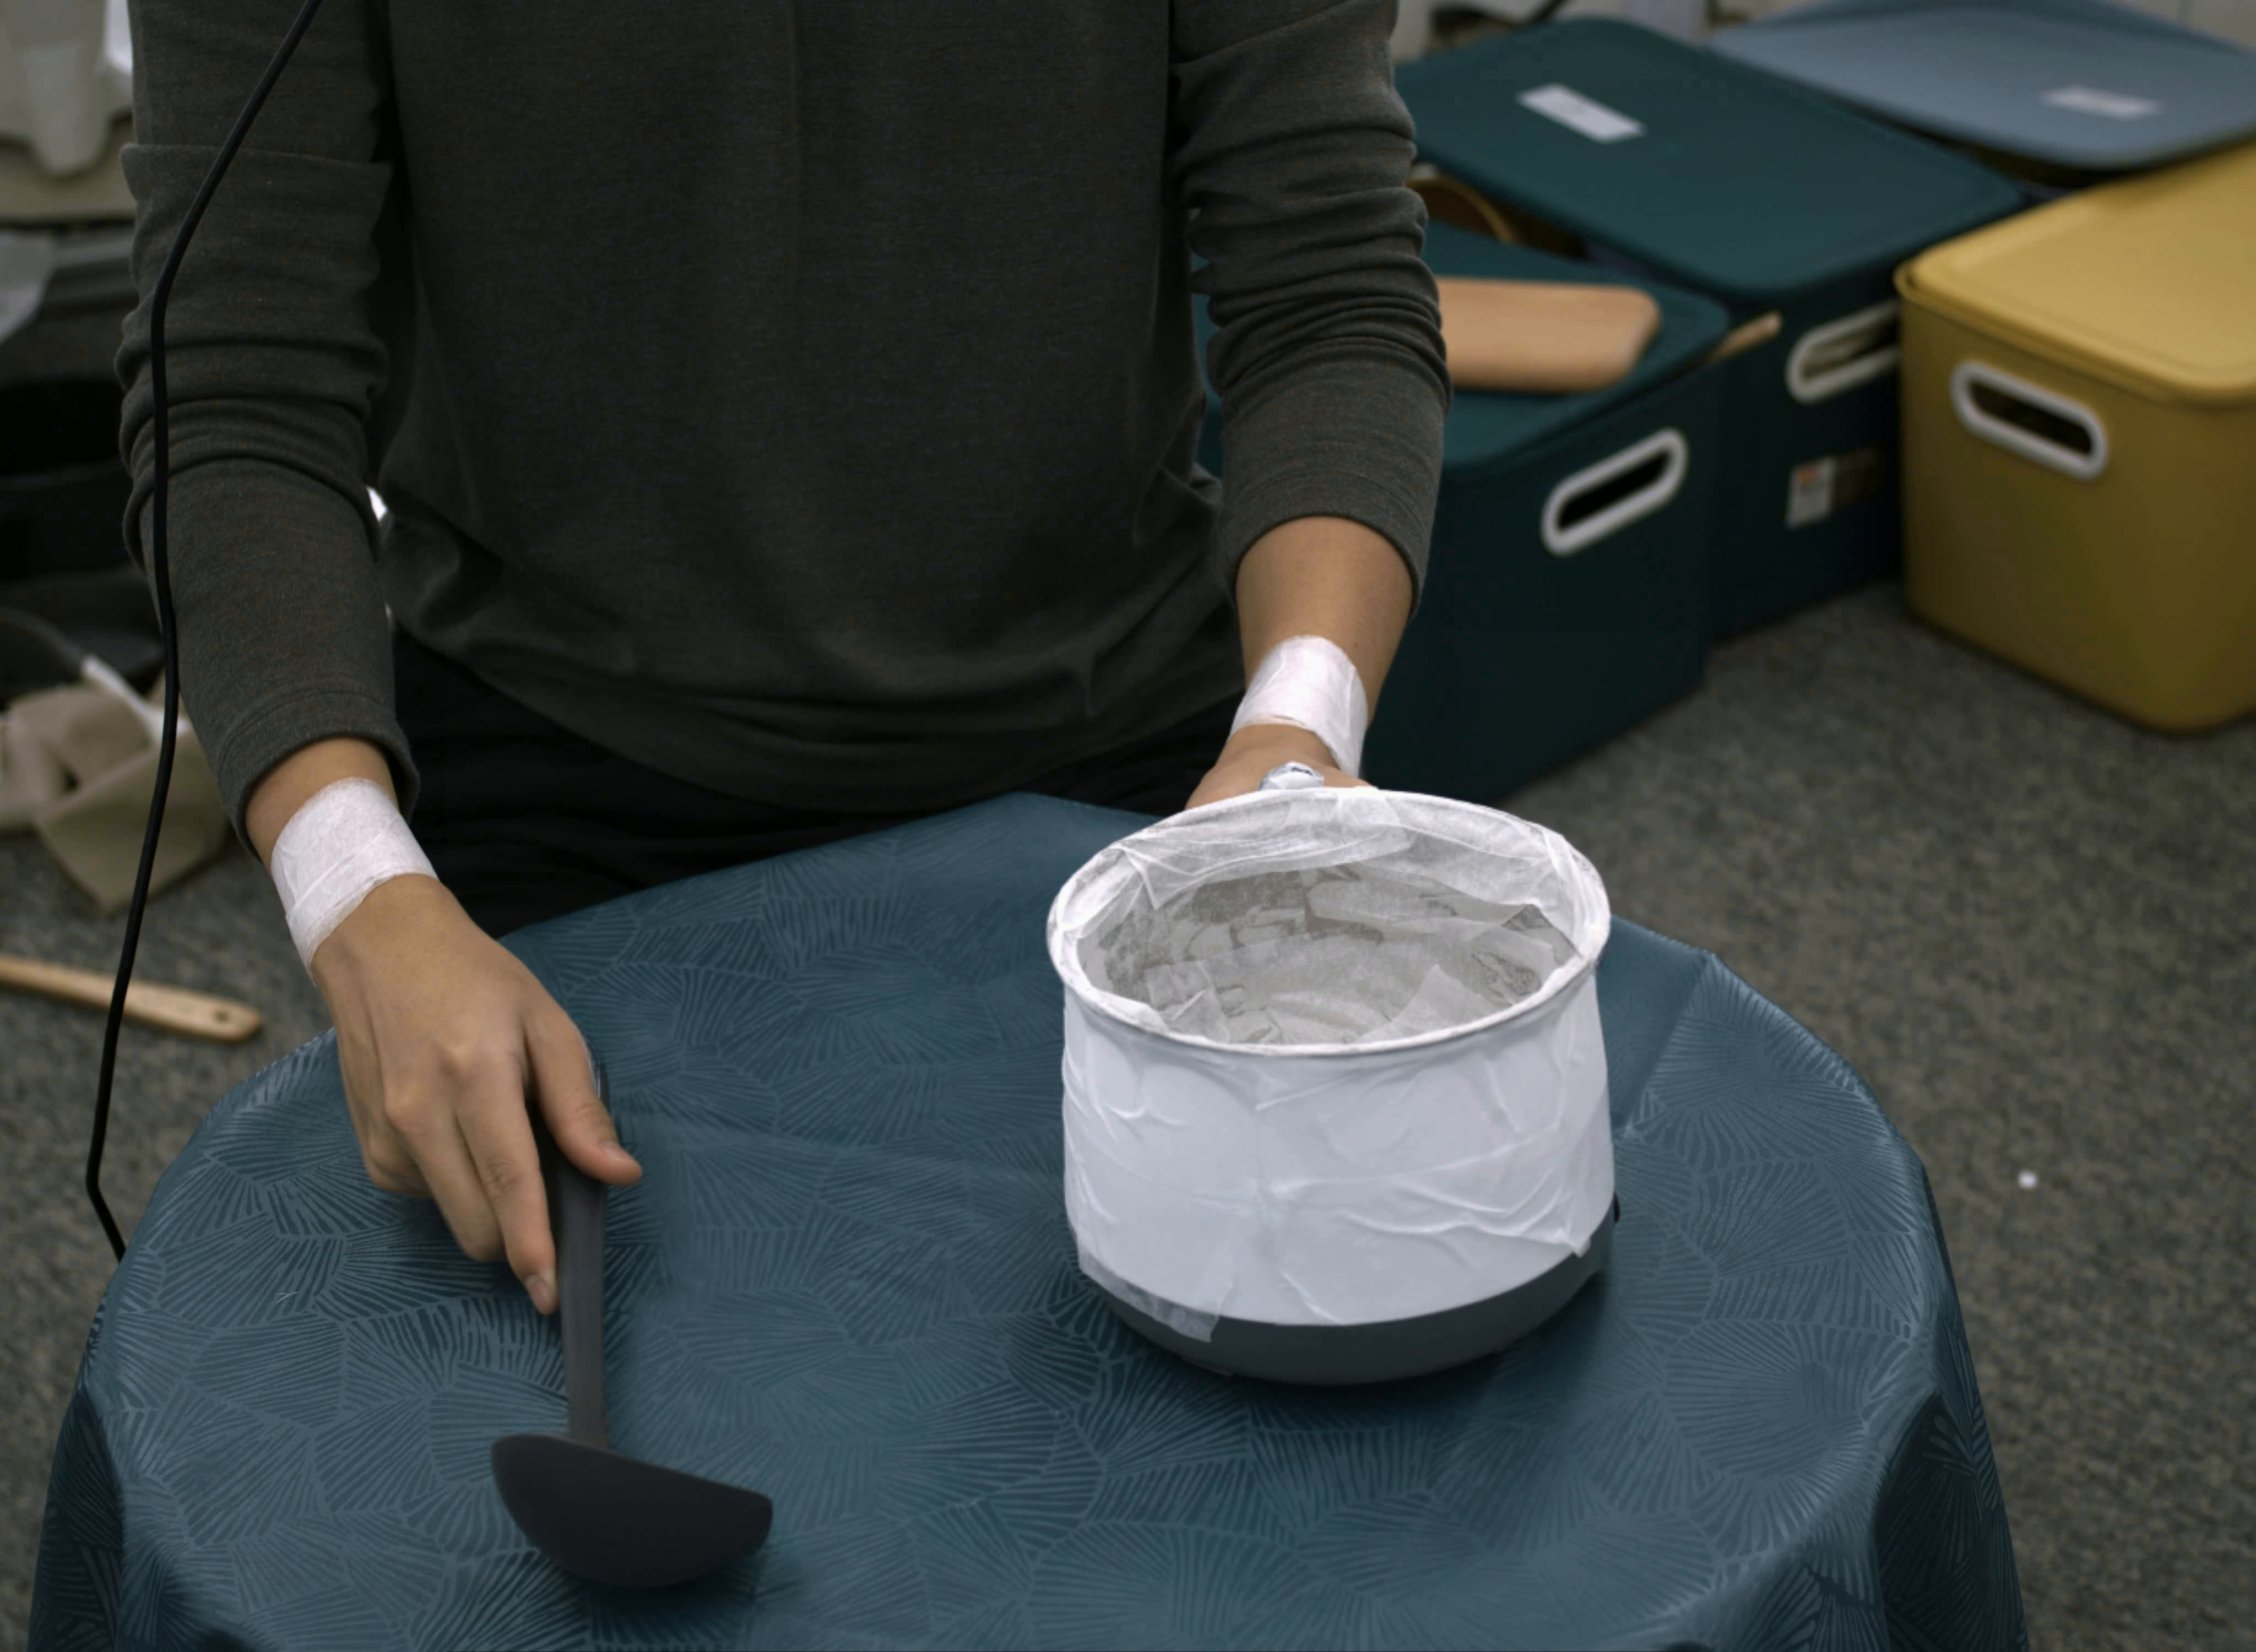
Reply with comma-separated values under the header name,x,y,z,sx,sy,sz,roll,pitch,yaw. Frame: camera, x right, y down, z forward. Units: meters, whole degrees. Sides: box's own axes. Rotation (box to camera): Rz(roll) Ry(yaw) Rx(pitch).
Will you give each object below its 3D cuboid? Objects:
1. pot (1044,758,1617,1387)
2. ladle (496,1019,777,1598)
name,x,y,z,sx,sy,sz,roll,pitch,yaw
pot,0.062,0.071,1.805,0.178,0.135,0.237,-5,26,-4
ladle,-0.163,0.134,1.765,0.086,0.063,0.319,25,25,-20
